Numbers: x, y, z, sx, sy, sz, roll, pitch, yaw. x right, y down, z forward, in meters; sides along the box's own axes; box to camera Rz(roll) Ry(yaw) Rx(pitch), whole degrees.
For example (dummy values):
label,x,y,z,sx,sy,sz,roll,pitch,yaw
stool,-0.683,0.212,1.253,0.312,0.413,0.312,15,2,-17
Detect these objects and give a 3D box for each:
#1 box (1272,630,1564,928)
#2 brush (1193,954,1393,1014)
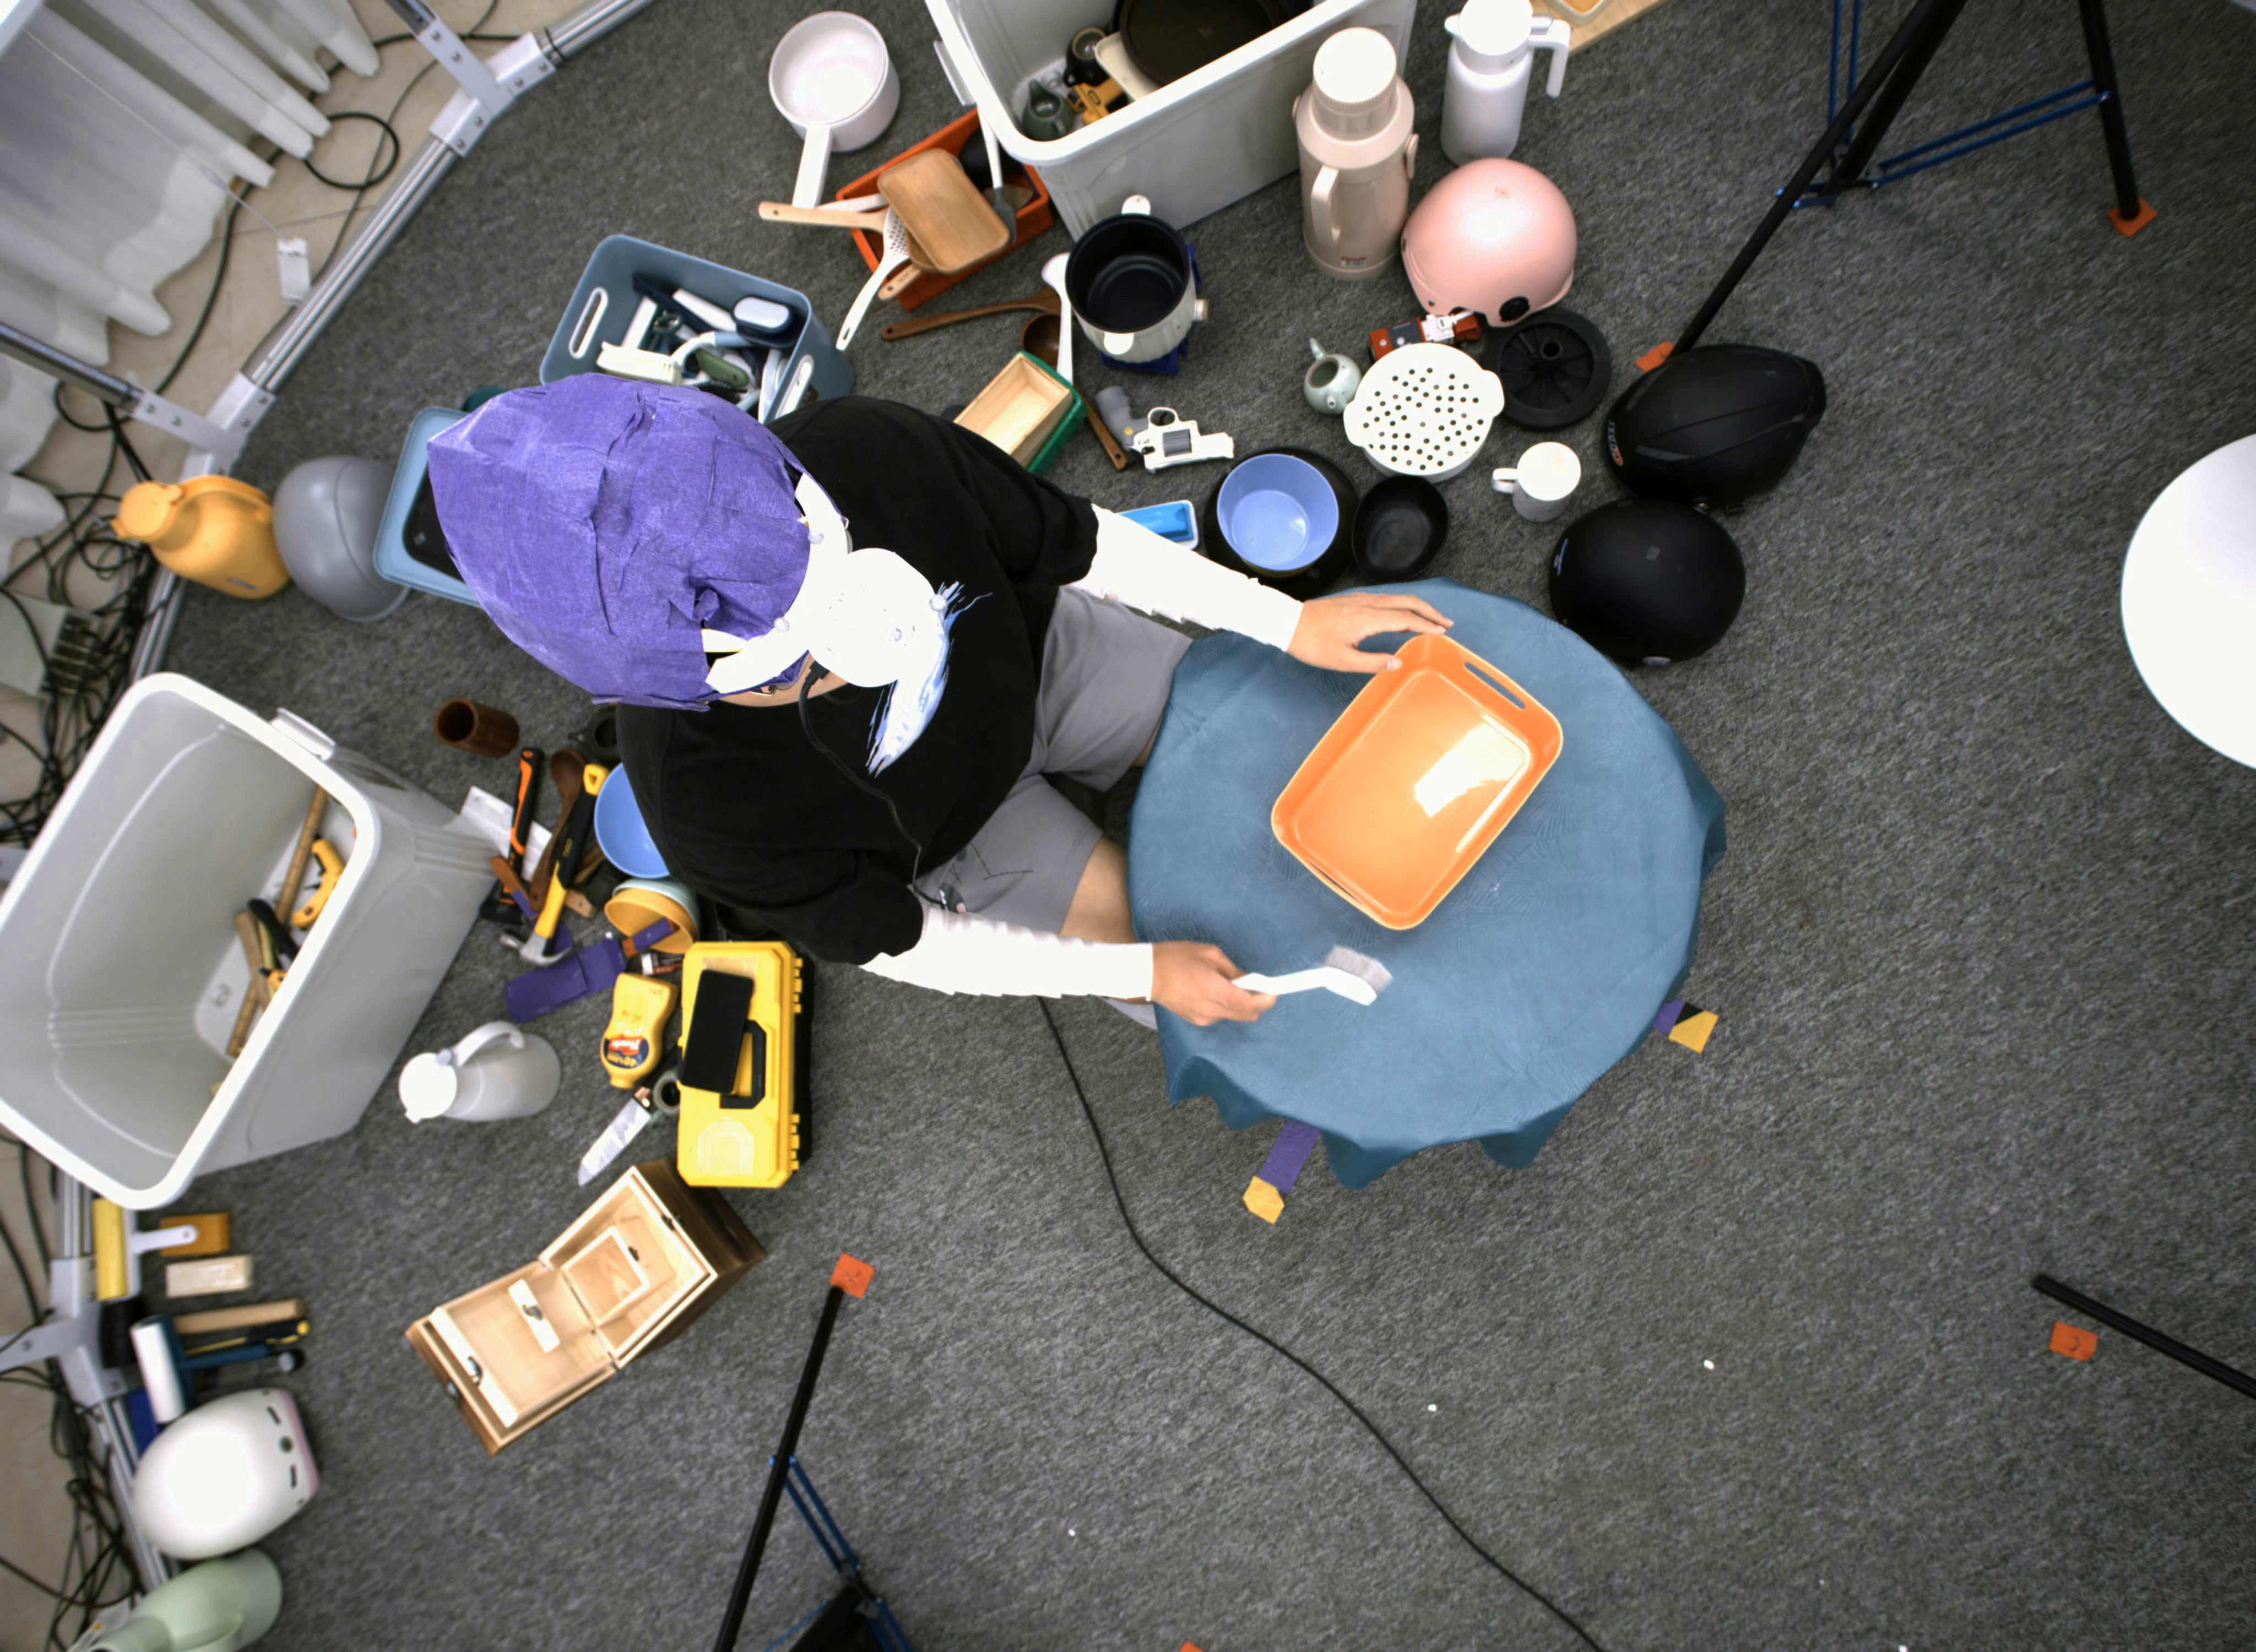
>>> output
label,x,y,z,sx,sy,sz,roll,pitch,yaw
box,0.291,-0.045,1.406,0.199,0.102,0.274,39,94,10
brush,0.160,0.150,1.393,0.245,0.034,0.049,0,63,49
